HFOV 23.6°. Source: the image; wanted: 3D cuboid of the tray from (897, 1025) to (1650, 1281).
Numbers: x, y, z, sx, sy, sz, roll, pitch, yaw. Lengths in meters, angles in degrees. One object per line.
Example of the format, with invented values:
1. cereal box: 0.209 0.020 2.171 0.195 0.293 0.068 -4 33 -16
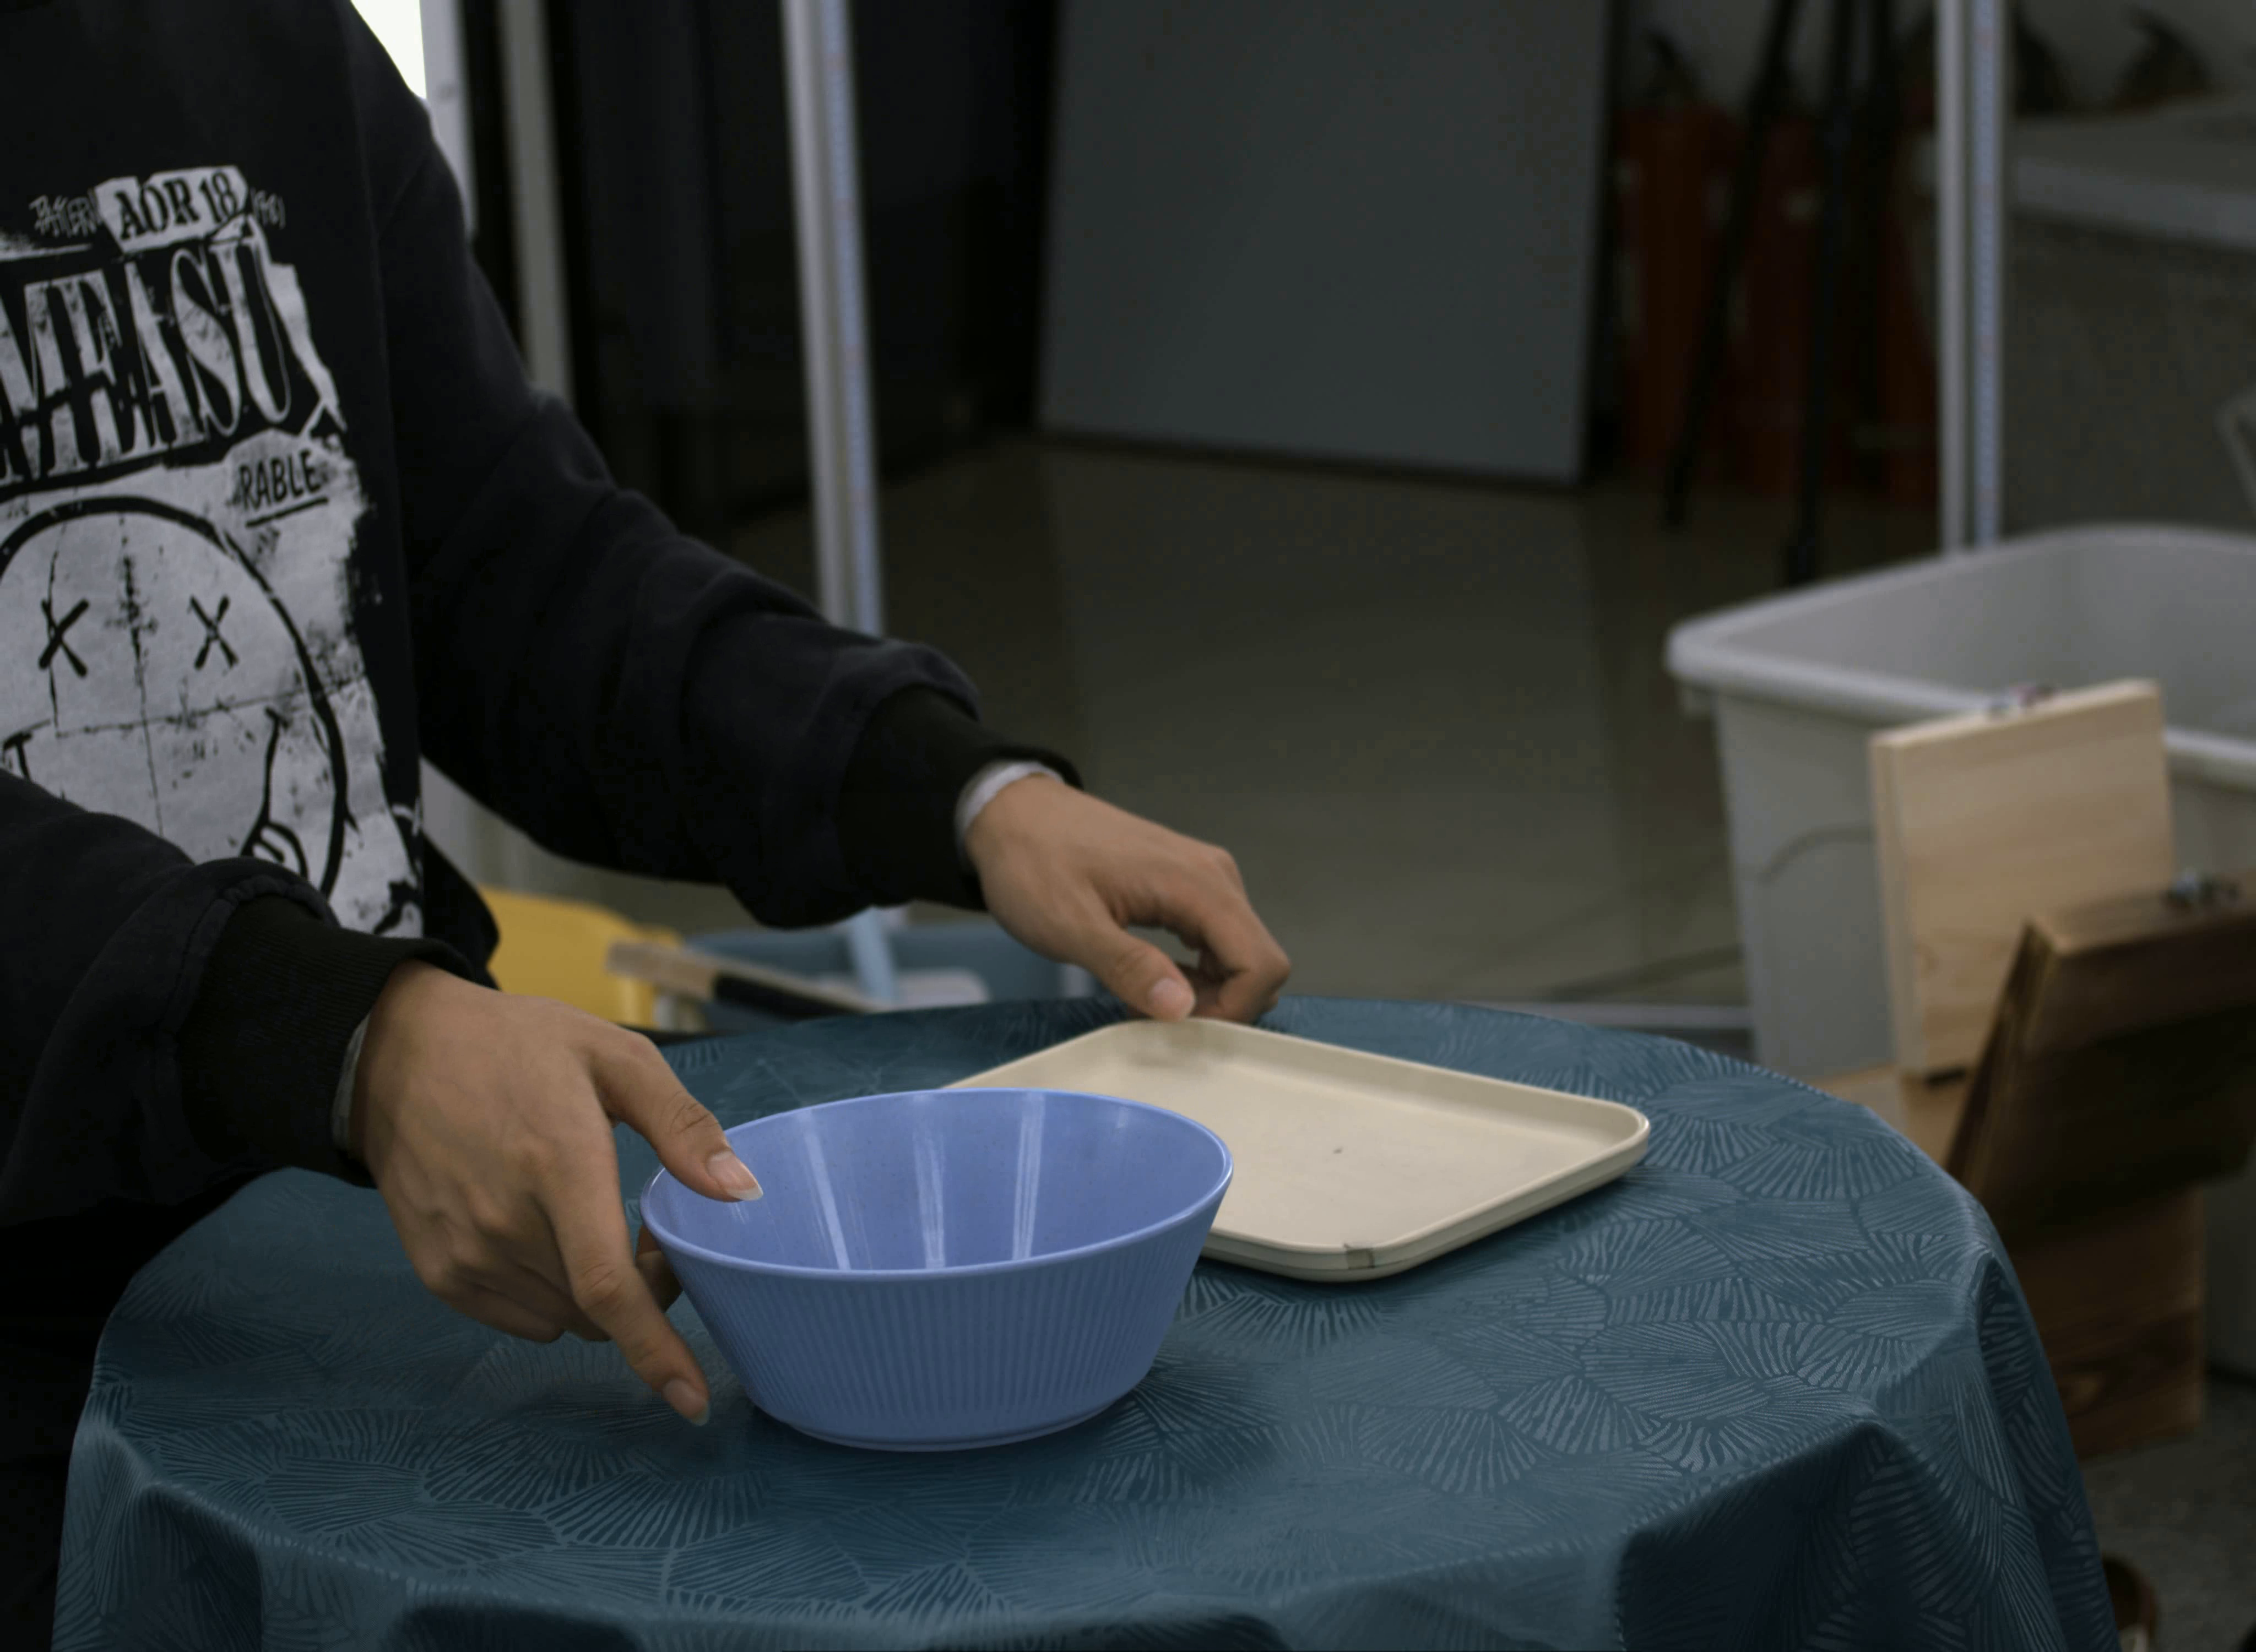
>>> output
1. tray: 0.041 0.107 1.780 0.242 0.017 0.168 9 19 43

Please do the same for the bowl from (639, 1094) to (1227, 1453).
1. bowl: -0.055 0.134 1.588 0.174 0.071 0.176 -4 13 0
